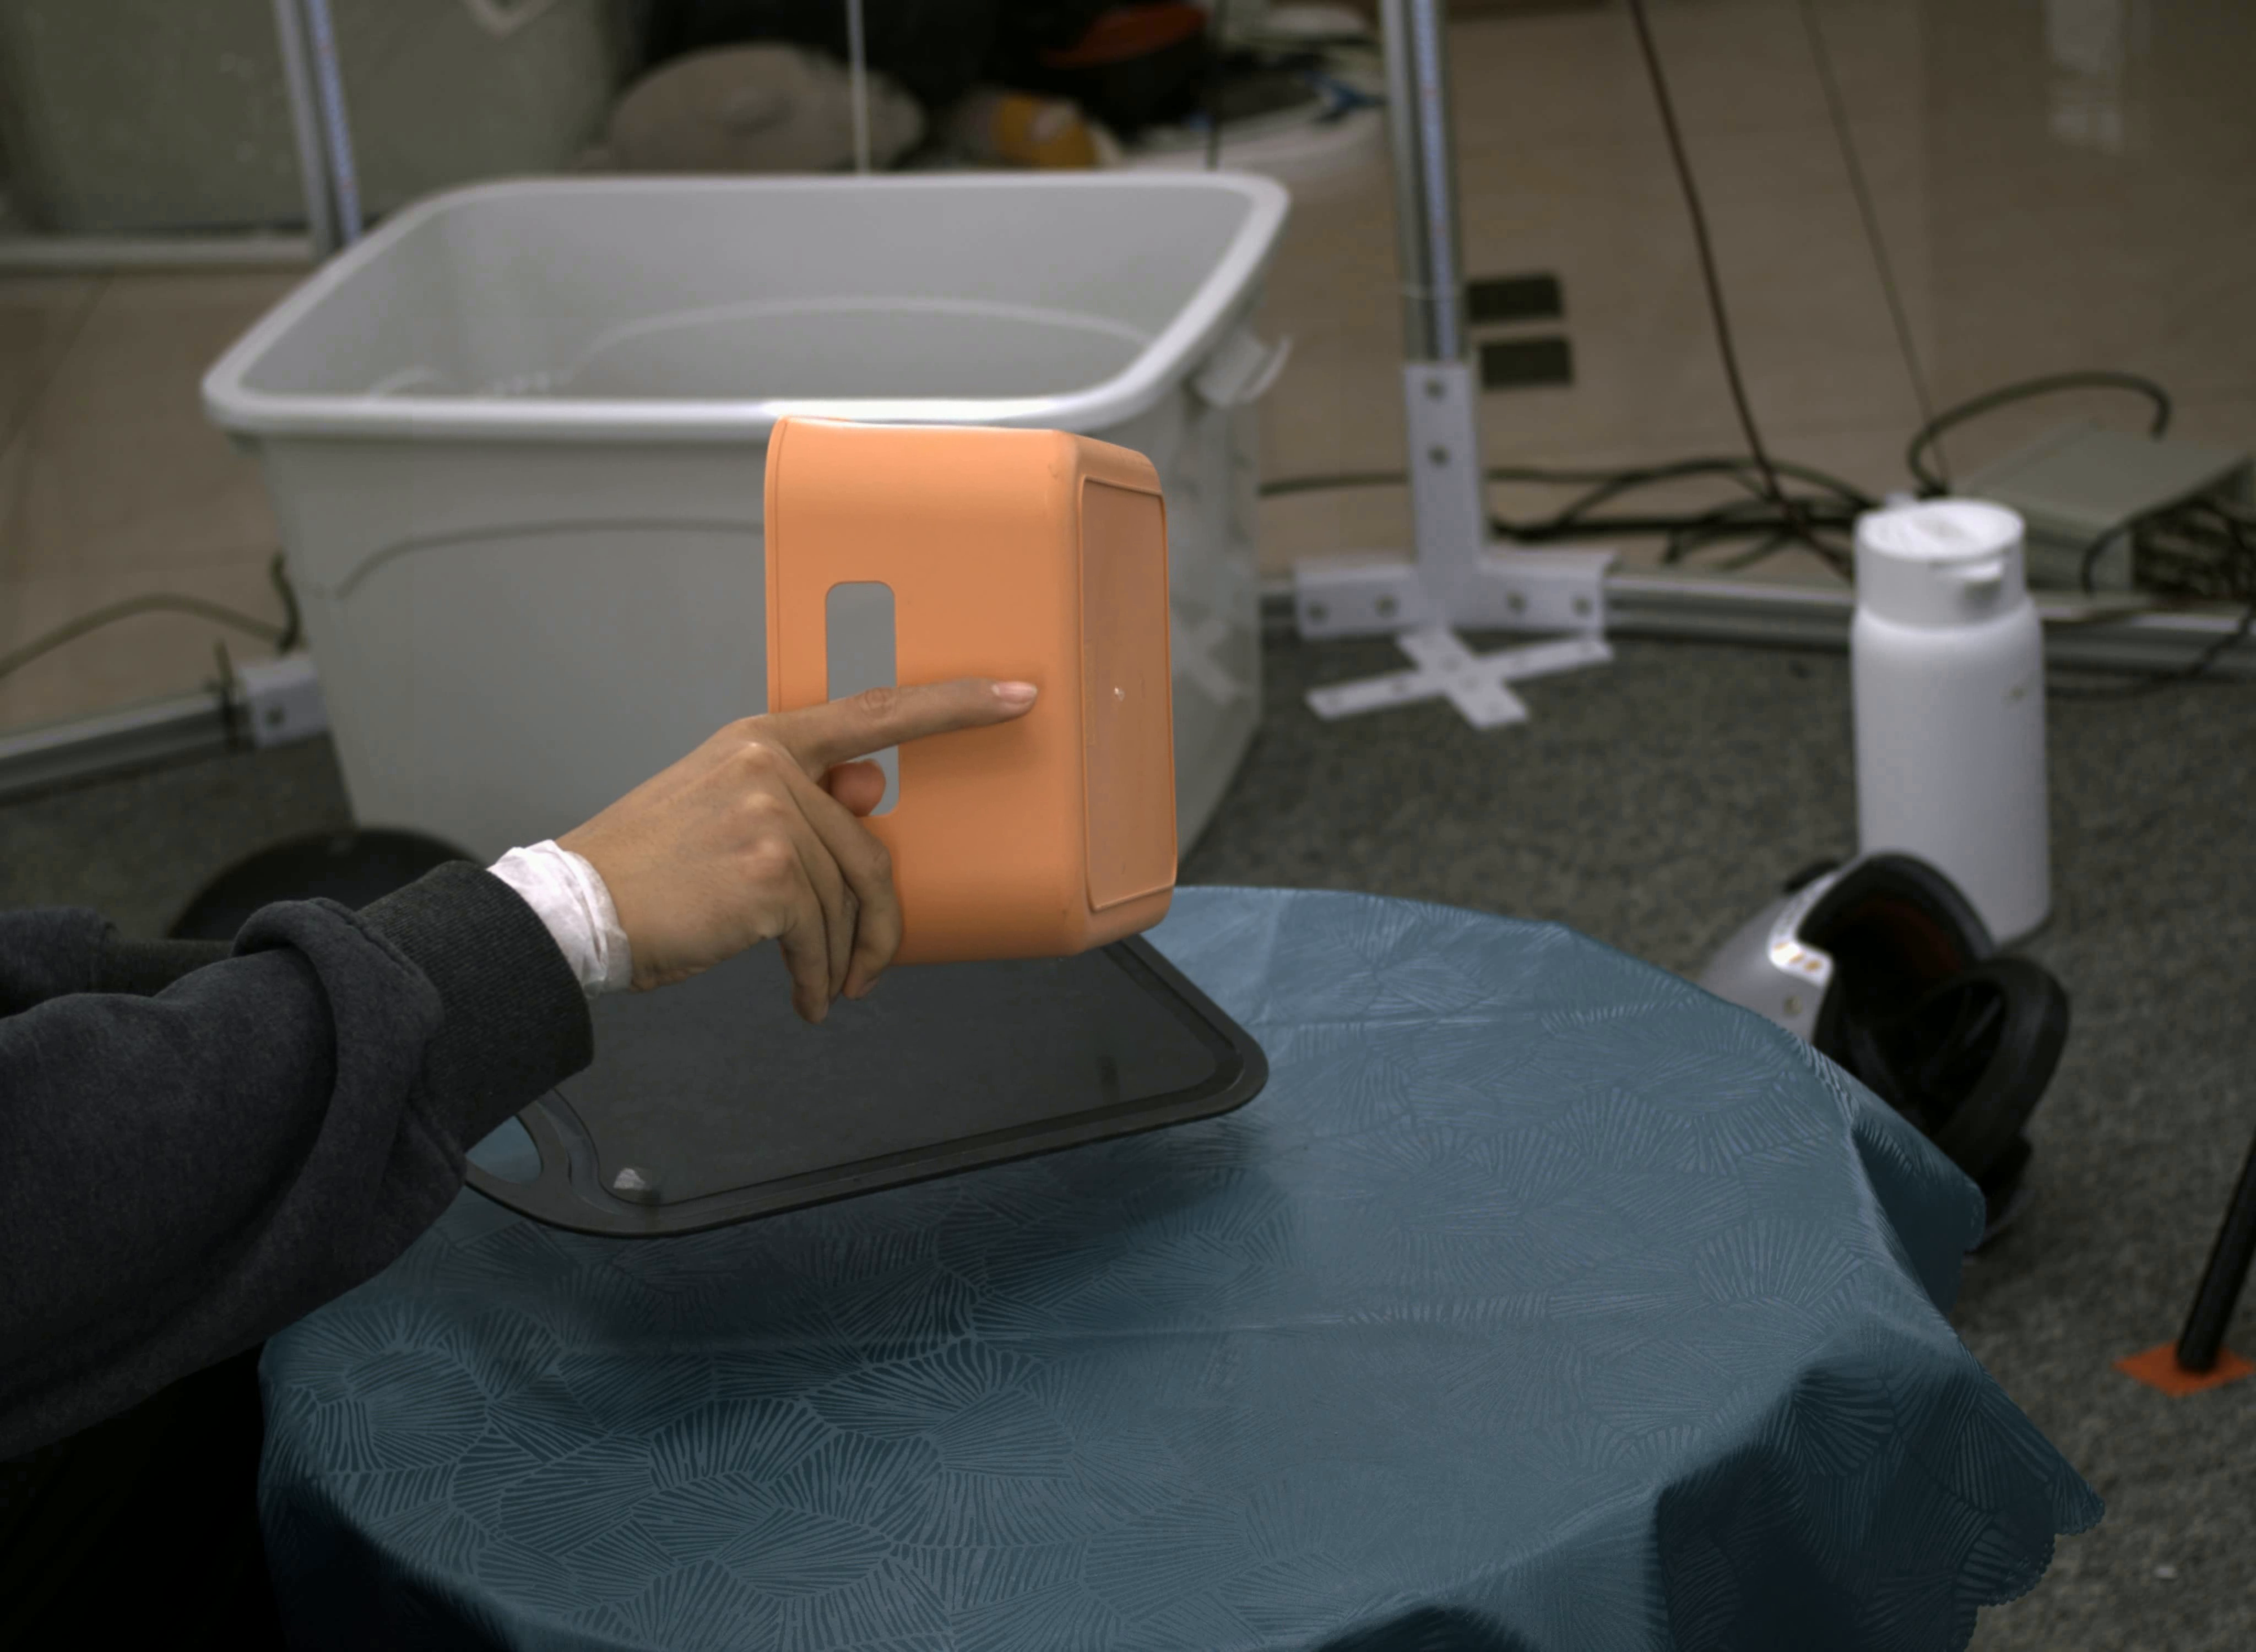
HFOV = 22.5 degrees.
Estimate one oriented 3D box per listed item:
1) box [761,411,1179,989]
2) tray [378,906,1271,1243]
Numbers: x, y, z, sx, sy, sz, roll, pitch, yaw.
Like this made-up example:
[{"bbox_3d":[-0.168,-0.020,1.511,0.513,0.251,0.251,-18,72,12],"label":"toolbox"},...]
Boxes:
[{"bbox_3d":[-0.049,-0.045,1.960,0.102,0.200,0.273,-1,2,8],"label":"box"},{"bbox_3d":[-0.120,0.084,2.149,0.324,0.010,0.208,-11,32,-28],"label":"tray"}]
